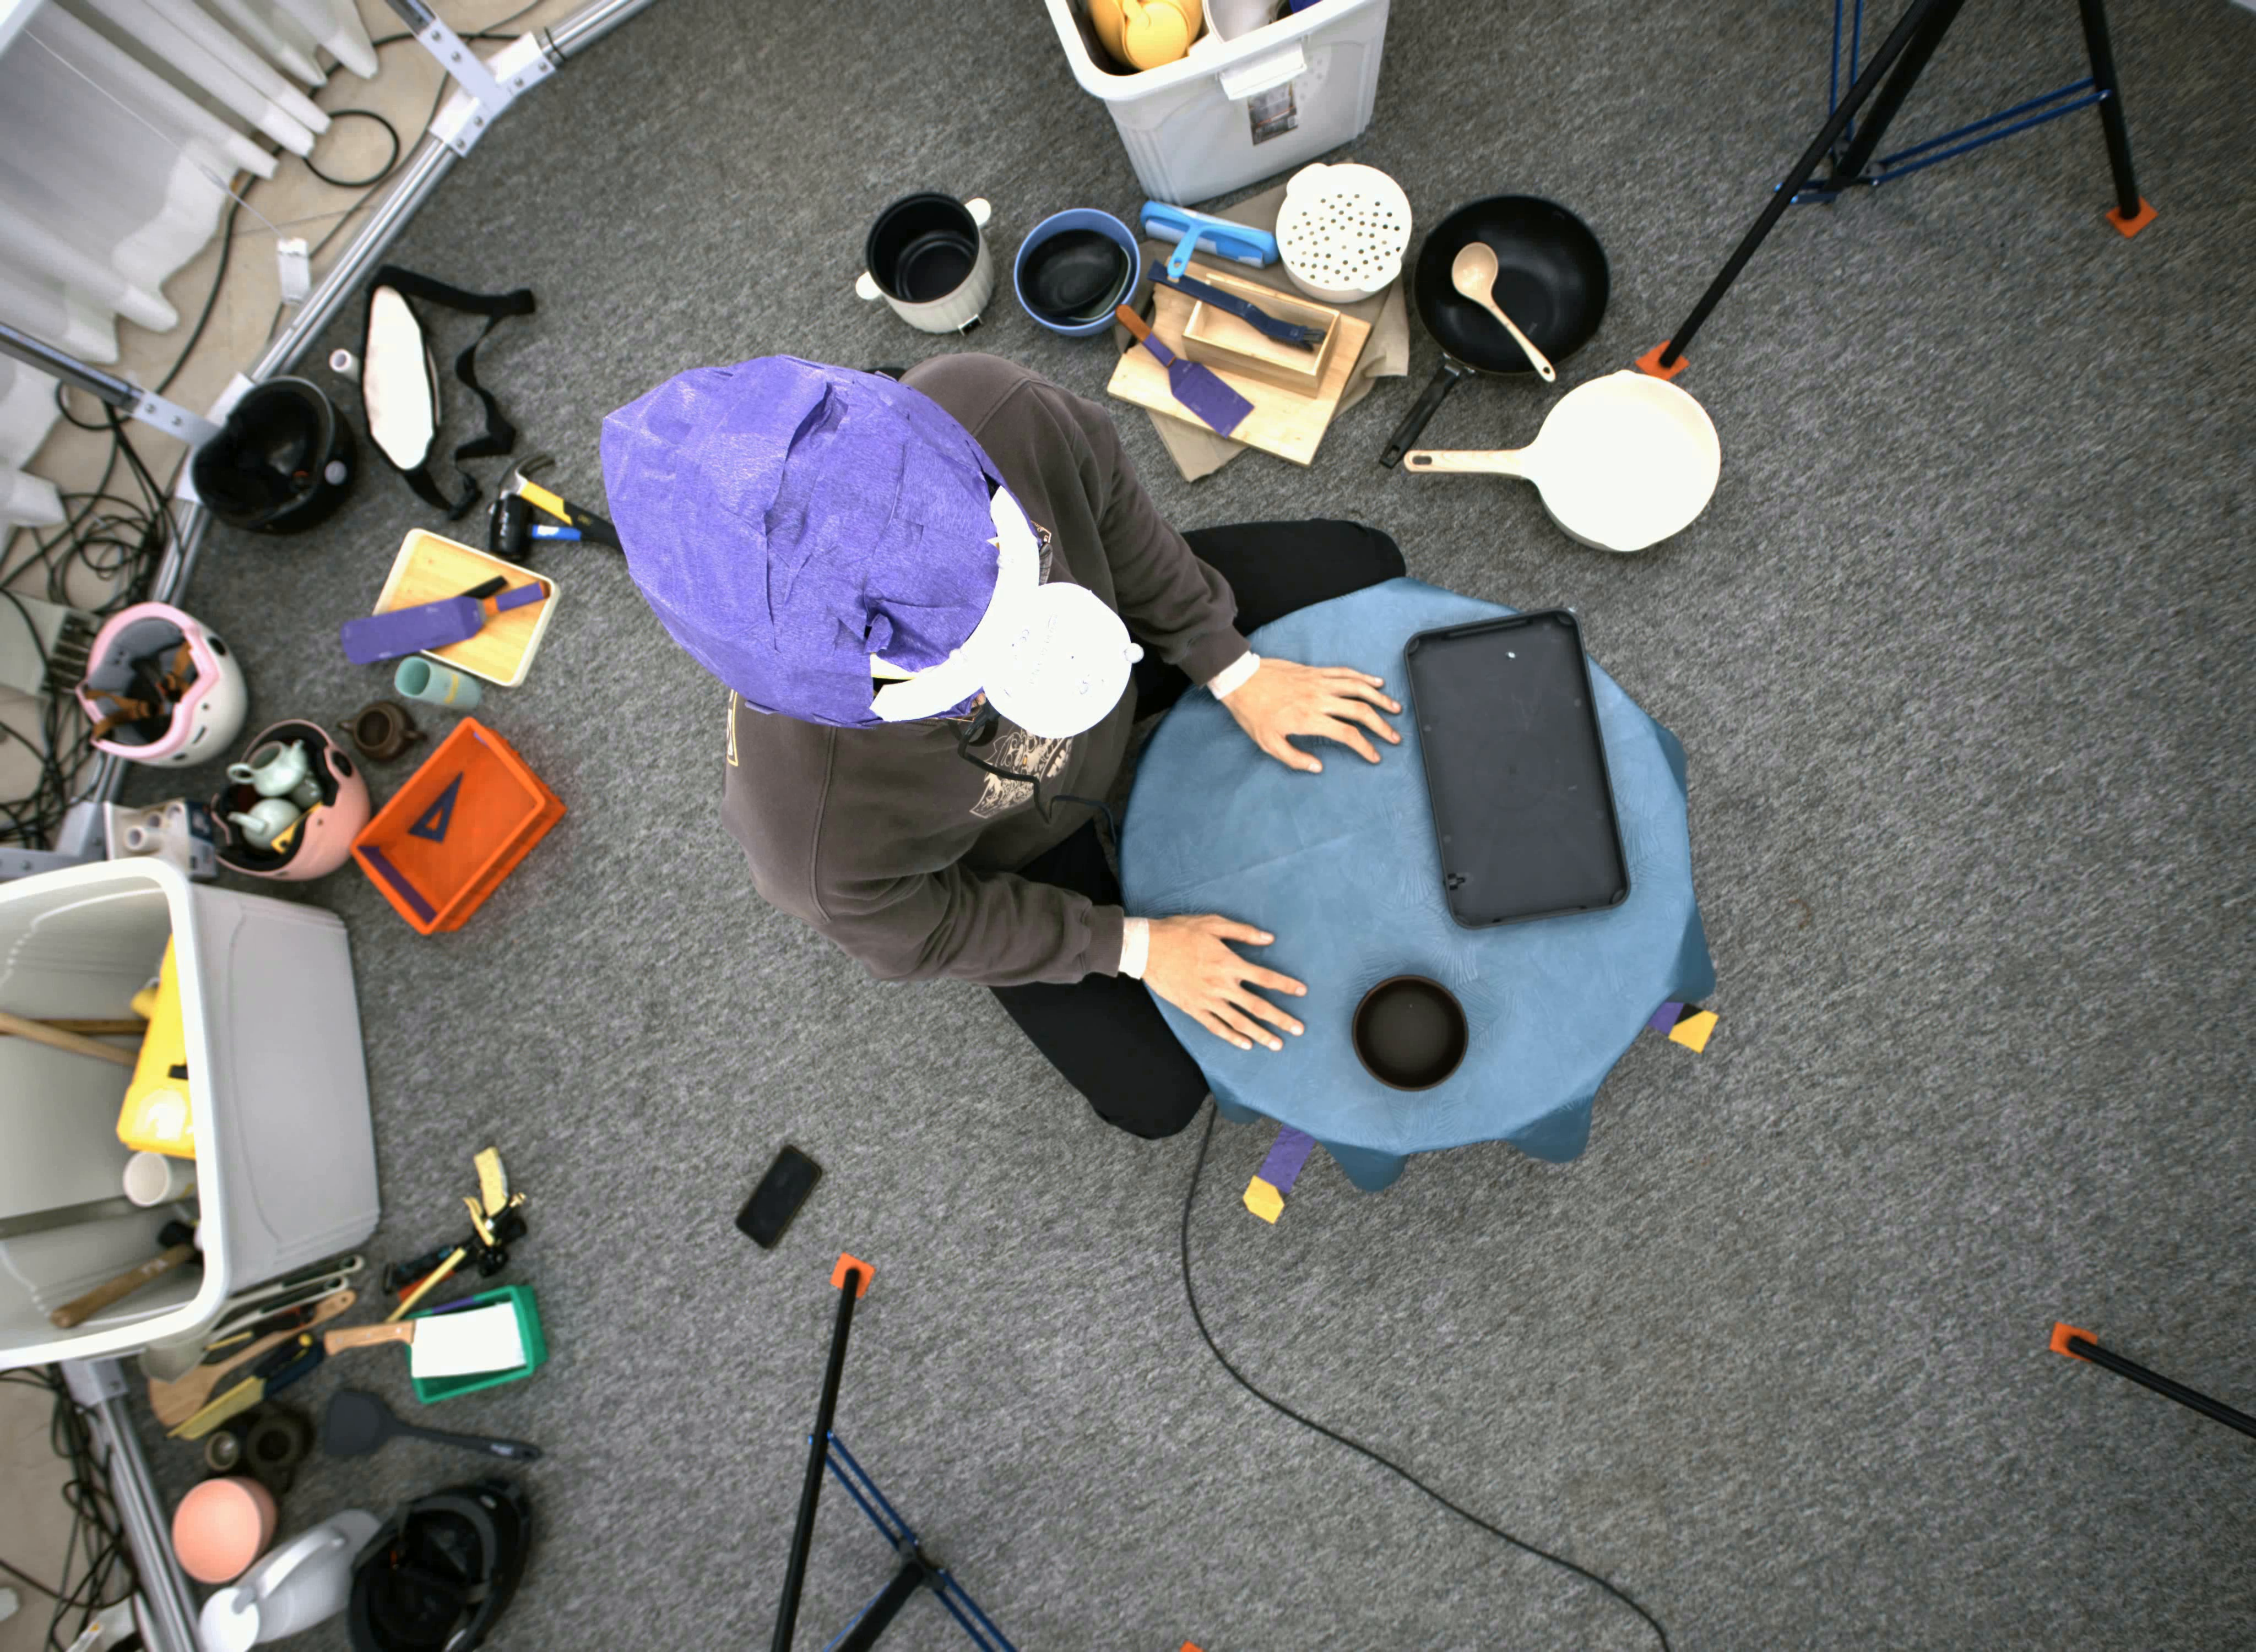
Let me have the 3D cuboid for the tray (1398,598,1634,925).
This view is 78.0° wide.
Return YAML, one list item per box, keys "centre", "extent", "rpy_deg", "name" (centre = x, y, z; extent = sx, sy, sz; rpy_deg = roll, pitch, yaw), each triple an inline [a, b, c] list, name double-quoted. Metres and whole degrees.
- centre: [0.399, -0.068, 1.422]
  extent: [0.185, 0.037, 0.316]
  rpy_deg: [-11, 86, 10]
  name: "tray"

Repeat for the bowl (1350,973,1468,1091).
- centre: [0.286, 0.208, 1.412]
  extent: [0.118, 0.070, 0.117]
  rpy_deg: [-1, 87, 12]
  name: "bowl"
